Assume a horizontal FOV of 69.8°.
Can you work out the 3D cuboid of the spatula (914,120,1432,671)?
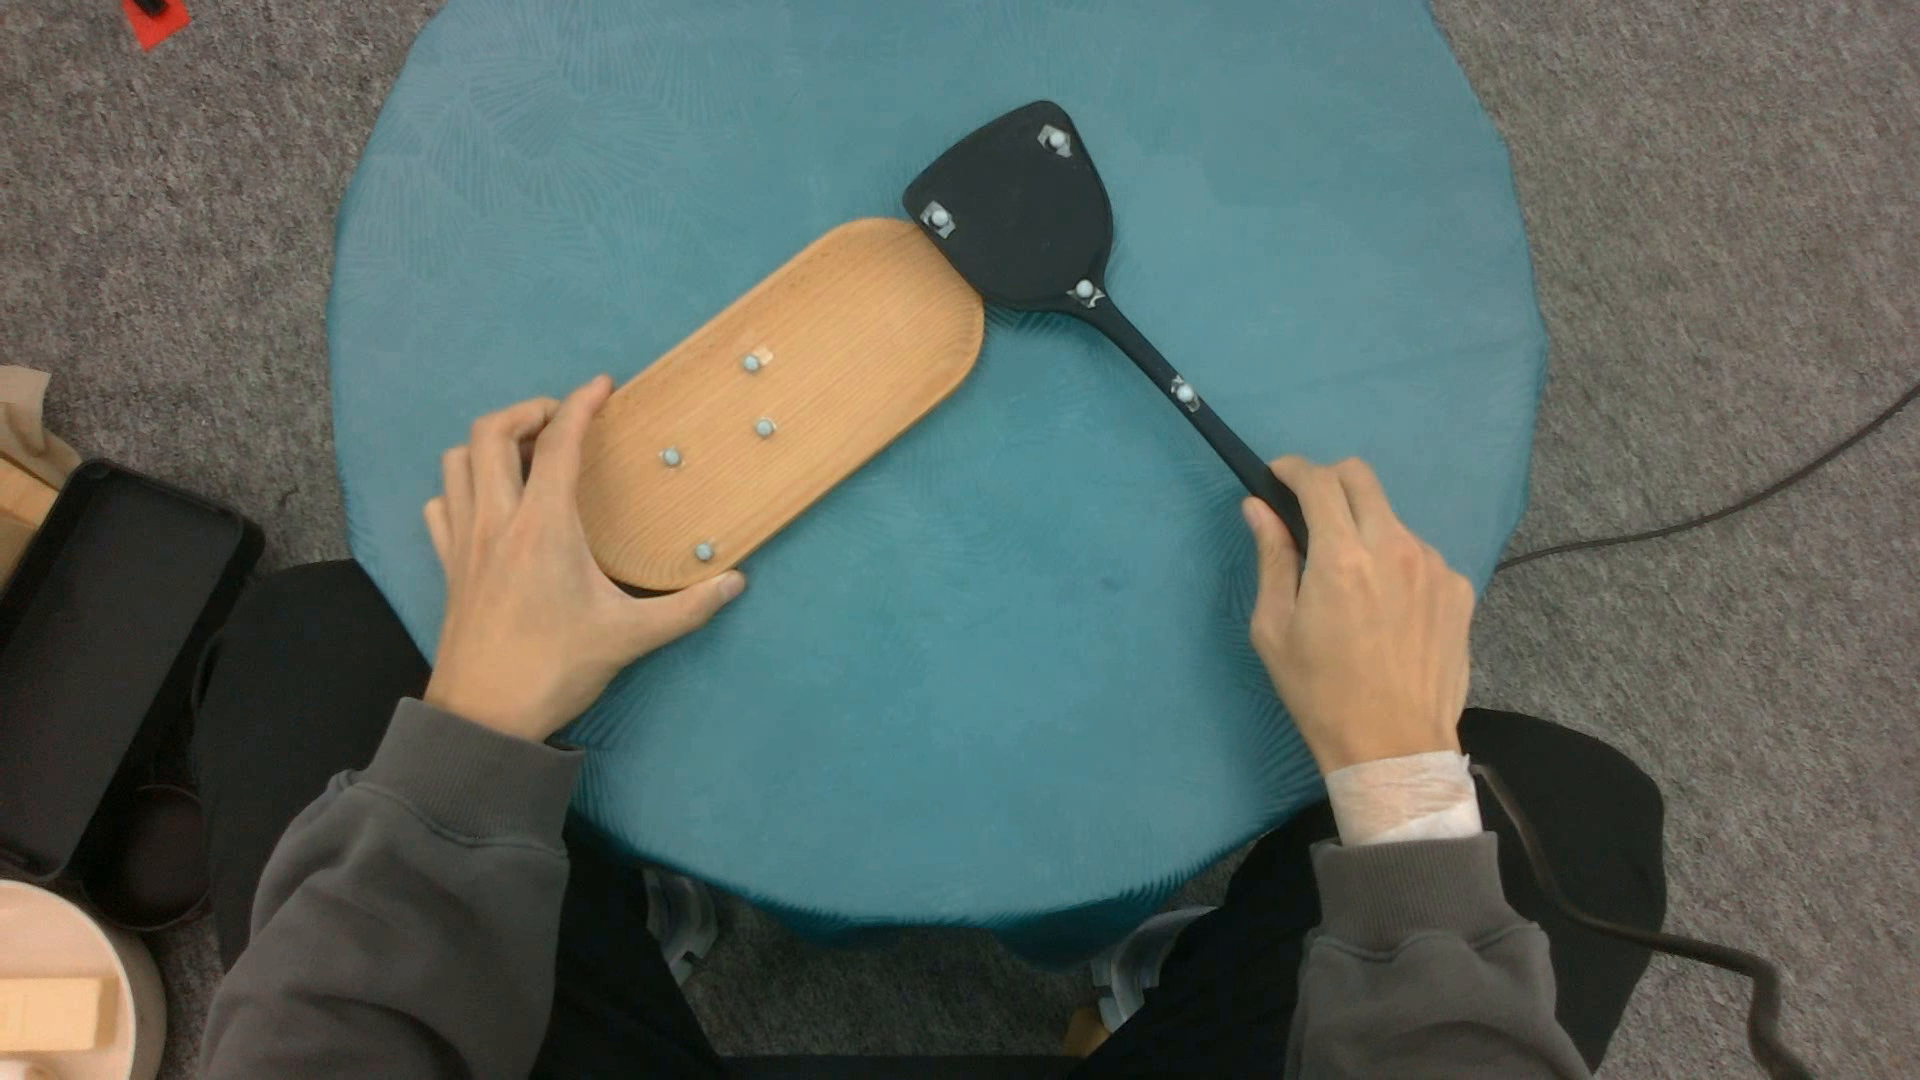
[{"bbox_3d":[0.110,-0.066,0.656,0.100,0.040,0.326,-37,74,-12],"label":"spatula"}]

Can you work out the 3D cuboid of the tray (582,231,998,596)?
[{"bbox_3d":[-0.082,-0.063,0.680,0.231,0.020,0.102,-39,83,-9],"label":"tray"}]
